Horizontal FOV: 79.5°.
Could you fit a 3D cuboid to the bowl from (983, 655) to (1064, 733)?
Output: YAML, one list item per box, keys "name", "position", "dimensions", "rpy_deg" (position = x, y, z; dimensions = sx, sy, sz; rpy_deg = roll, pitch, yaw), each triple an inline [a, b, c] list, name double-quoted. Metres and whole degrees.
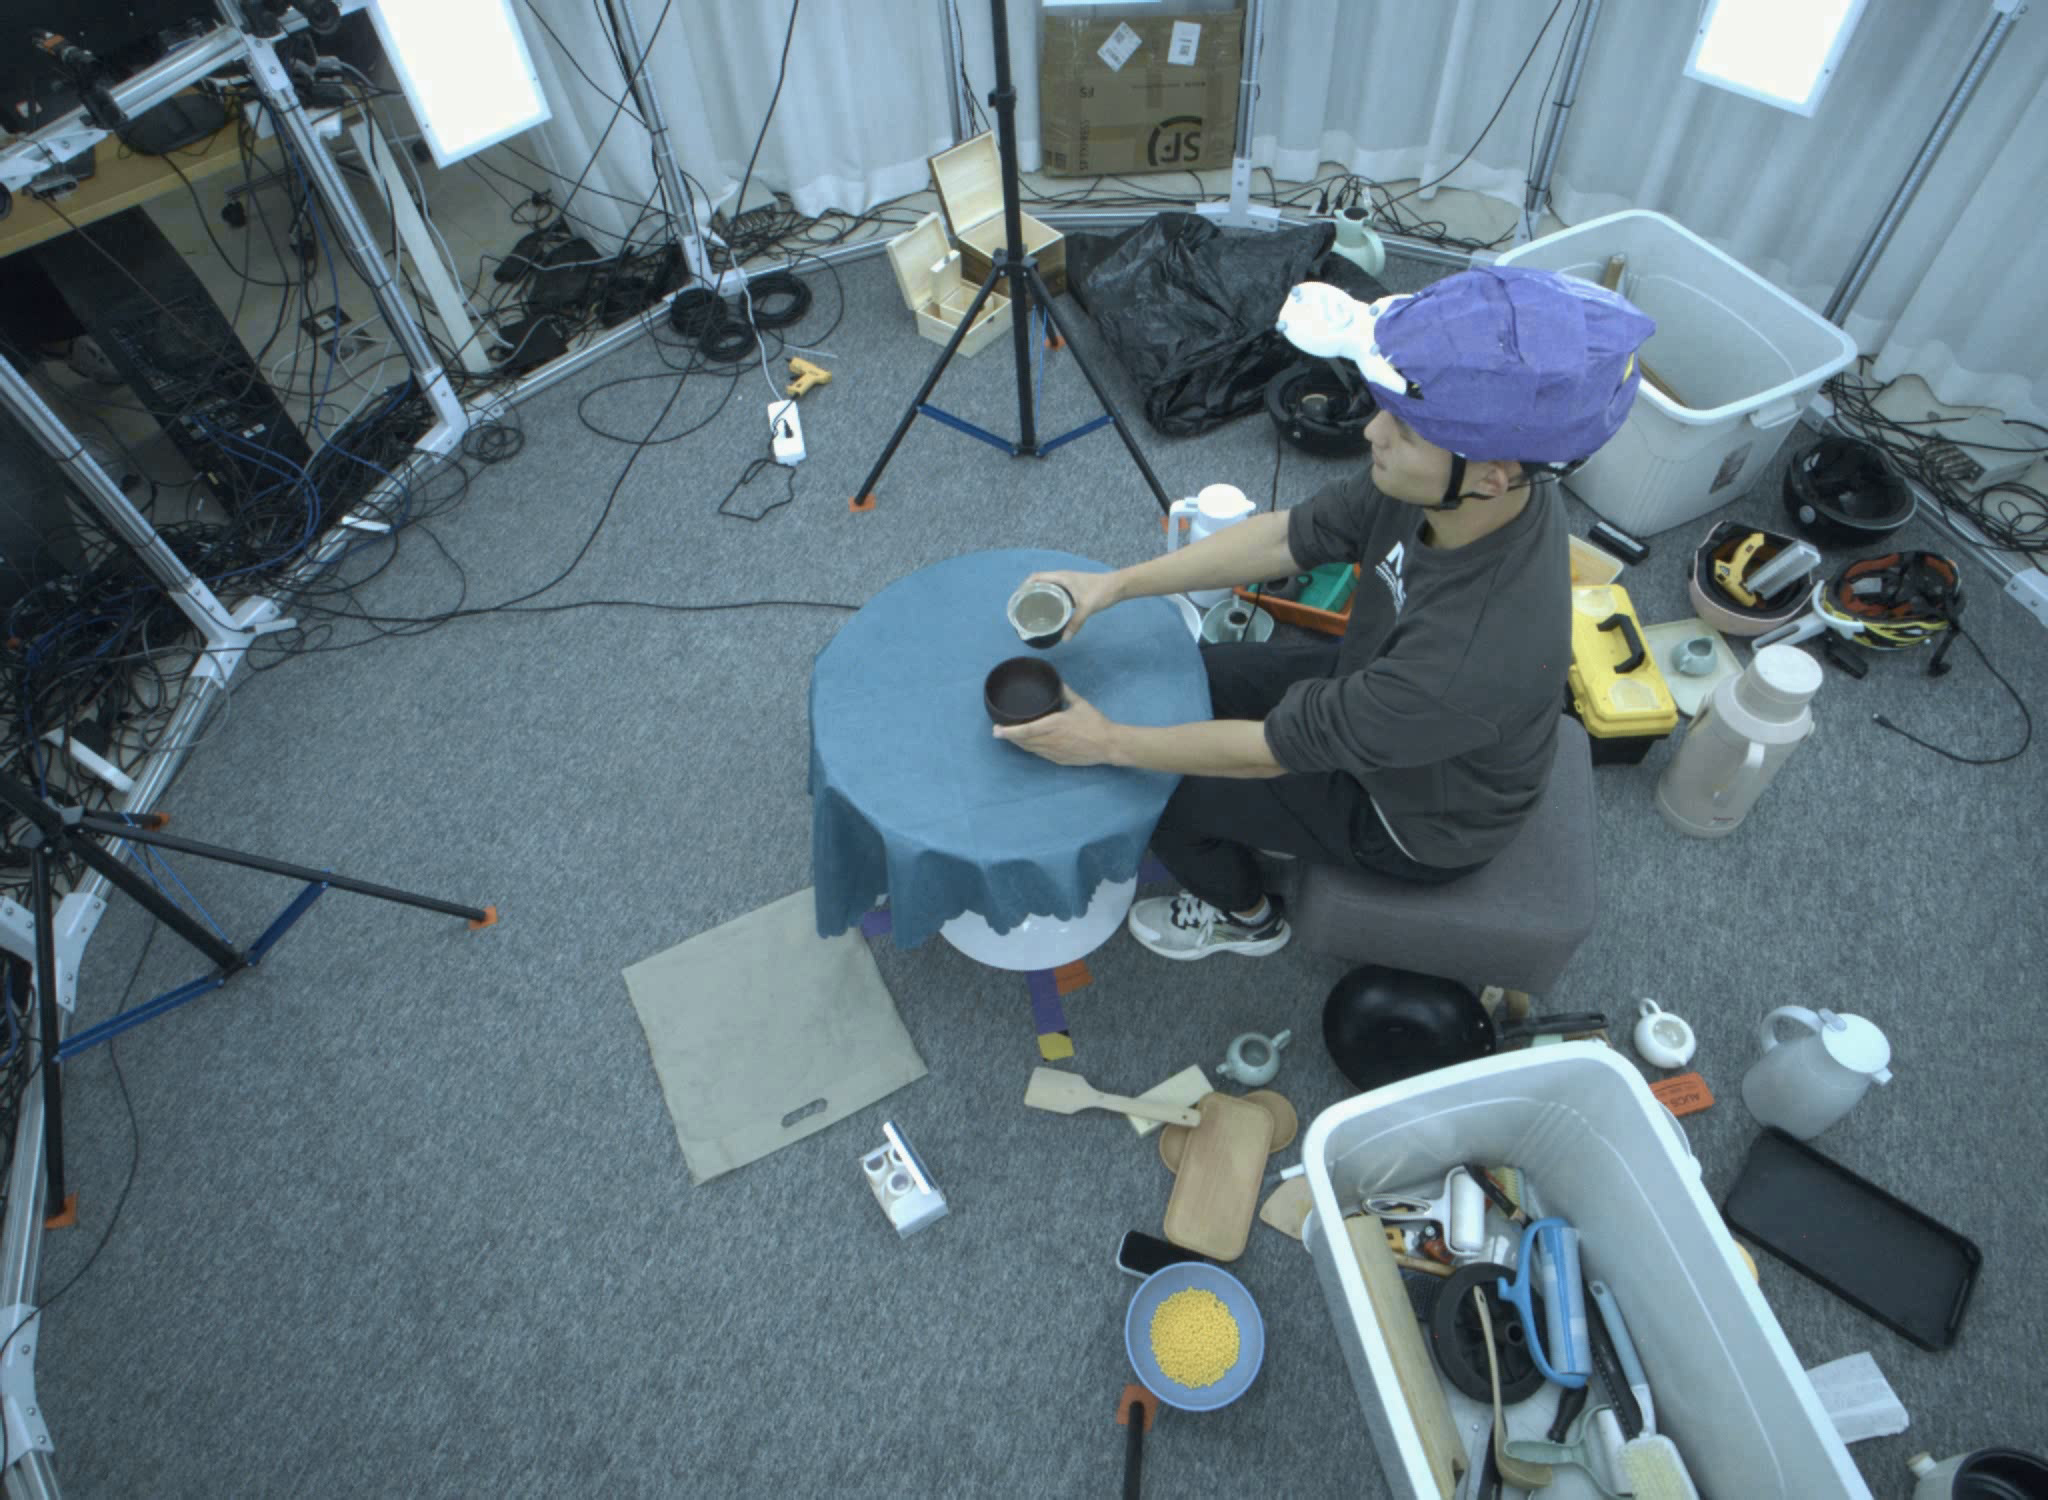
- name: "bowl"
  position: [0.001, -0.074, 1.793]
  dimensions: [0.118, 0.070, 0.117]
  rpy_deg: [-1, 53, 3]

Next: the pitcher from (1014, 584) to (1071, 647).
- name: "pitcher"
  position: [0.025, -0.188, 1.807]
  dimensions: [0.083, 0.072, 0.096]
  rpy_deg: [28, 68, 15]
